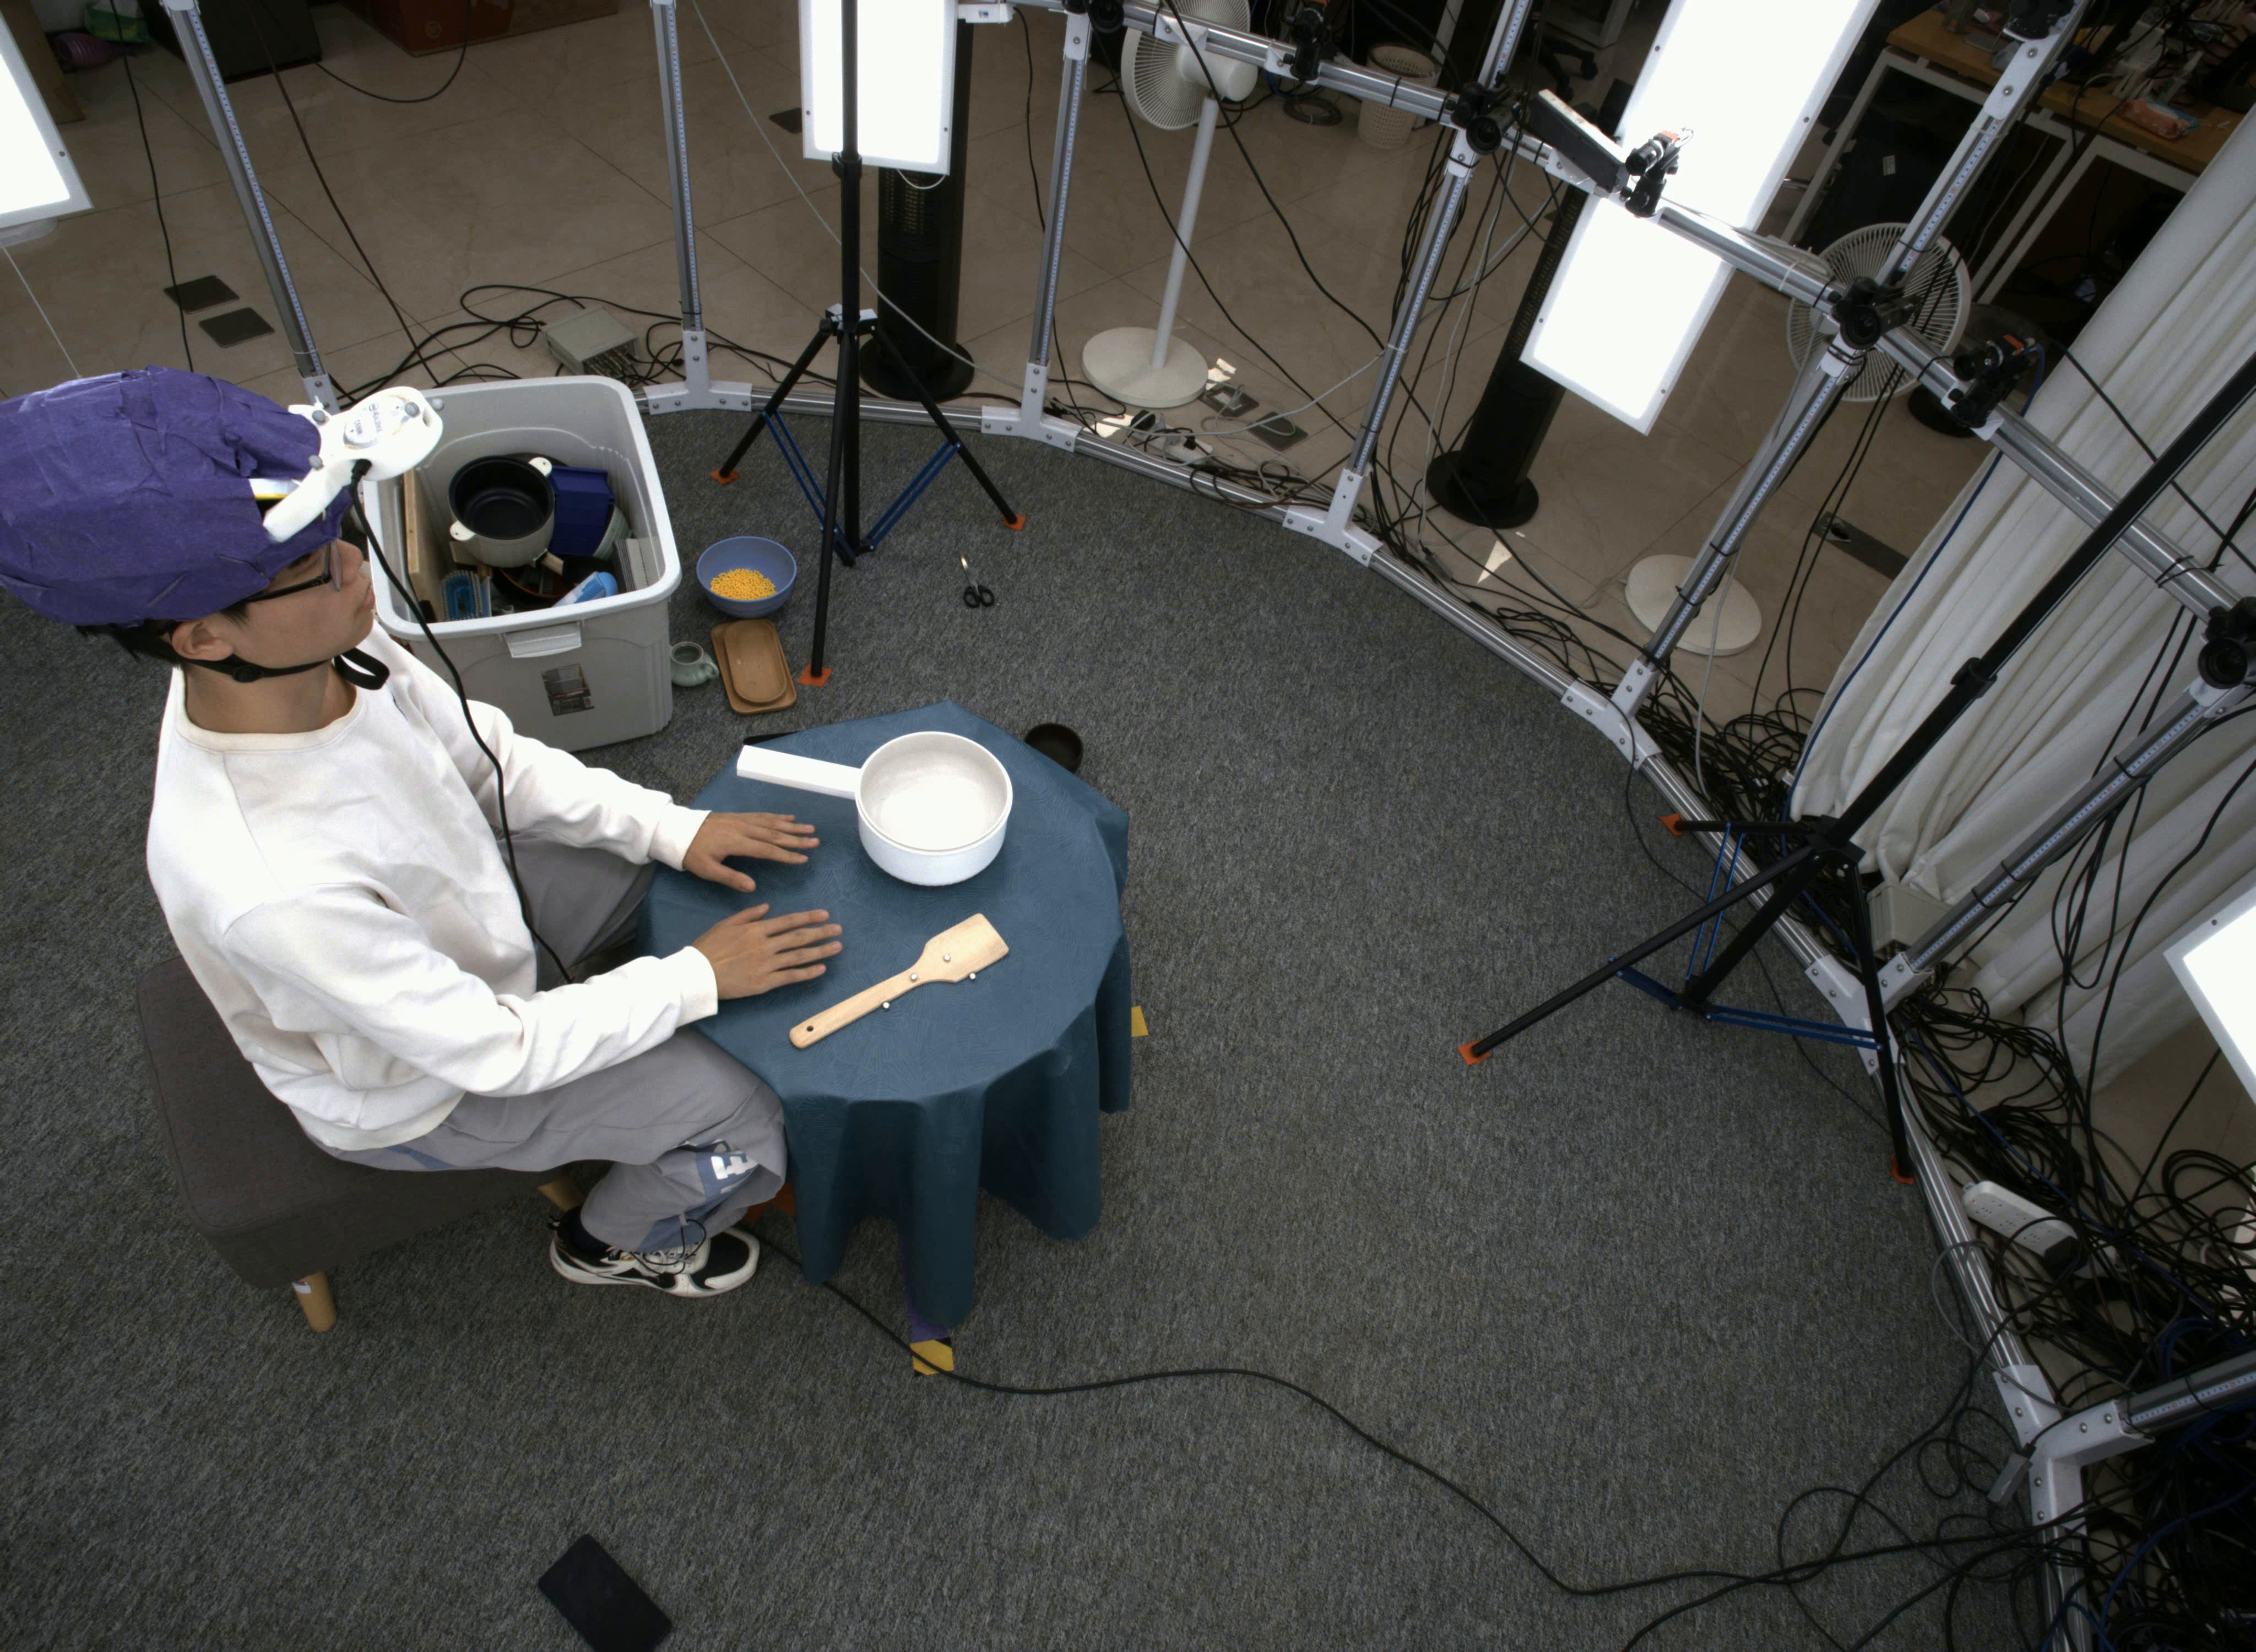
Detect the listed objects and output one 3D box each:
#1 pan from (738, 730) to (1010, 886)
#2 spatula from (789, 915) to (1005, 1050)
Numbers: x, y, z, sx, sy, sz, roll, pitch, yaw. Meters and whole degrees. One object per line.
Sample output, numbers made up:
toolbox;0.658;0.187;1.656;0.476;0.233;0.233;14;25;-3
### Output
pan;-0.333;-0.033;1.716;0.352;0.104;0.198;11;52;-4
spatula;-0.287;0.198;1.615;0.294;0.011;0.070;-28;66;-29
